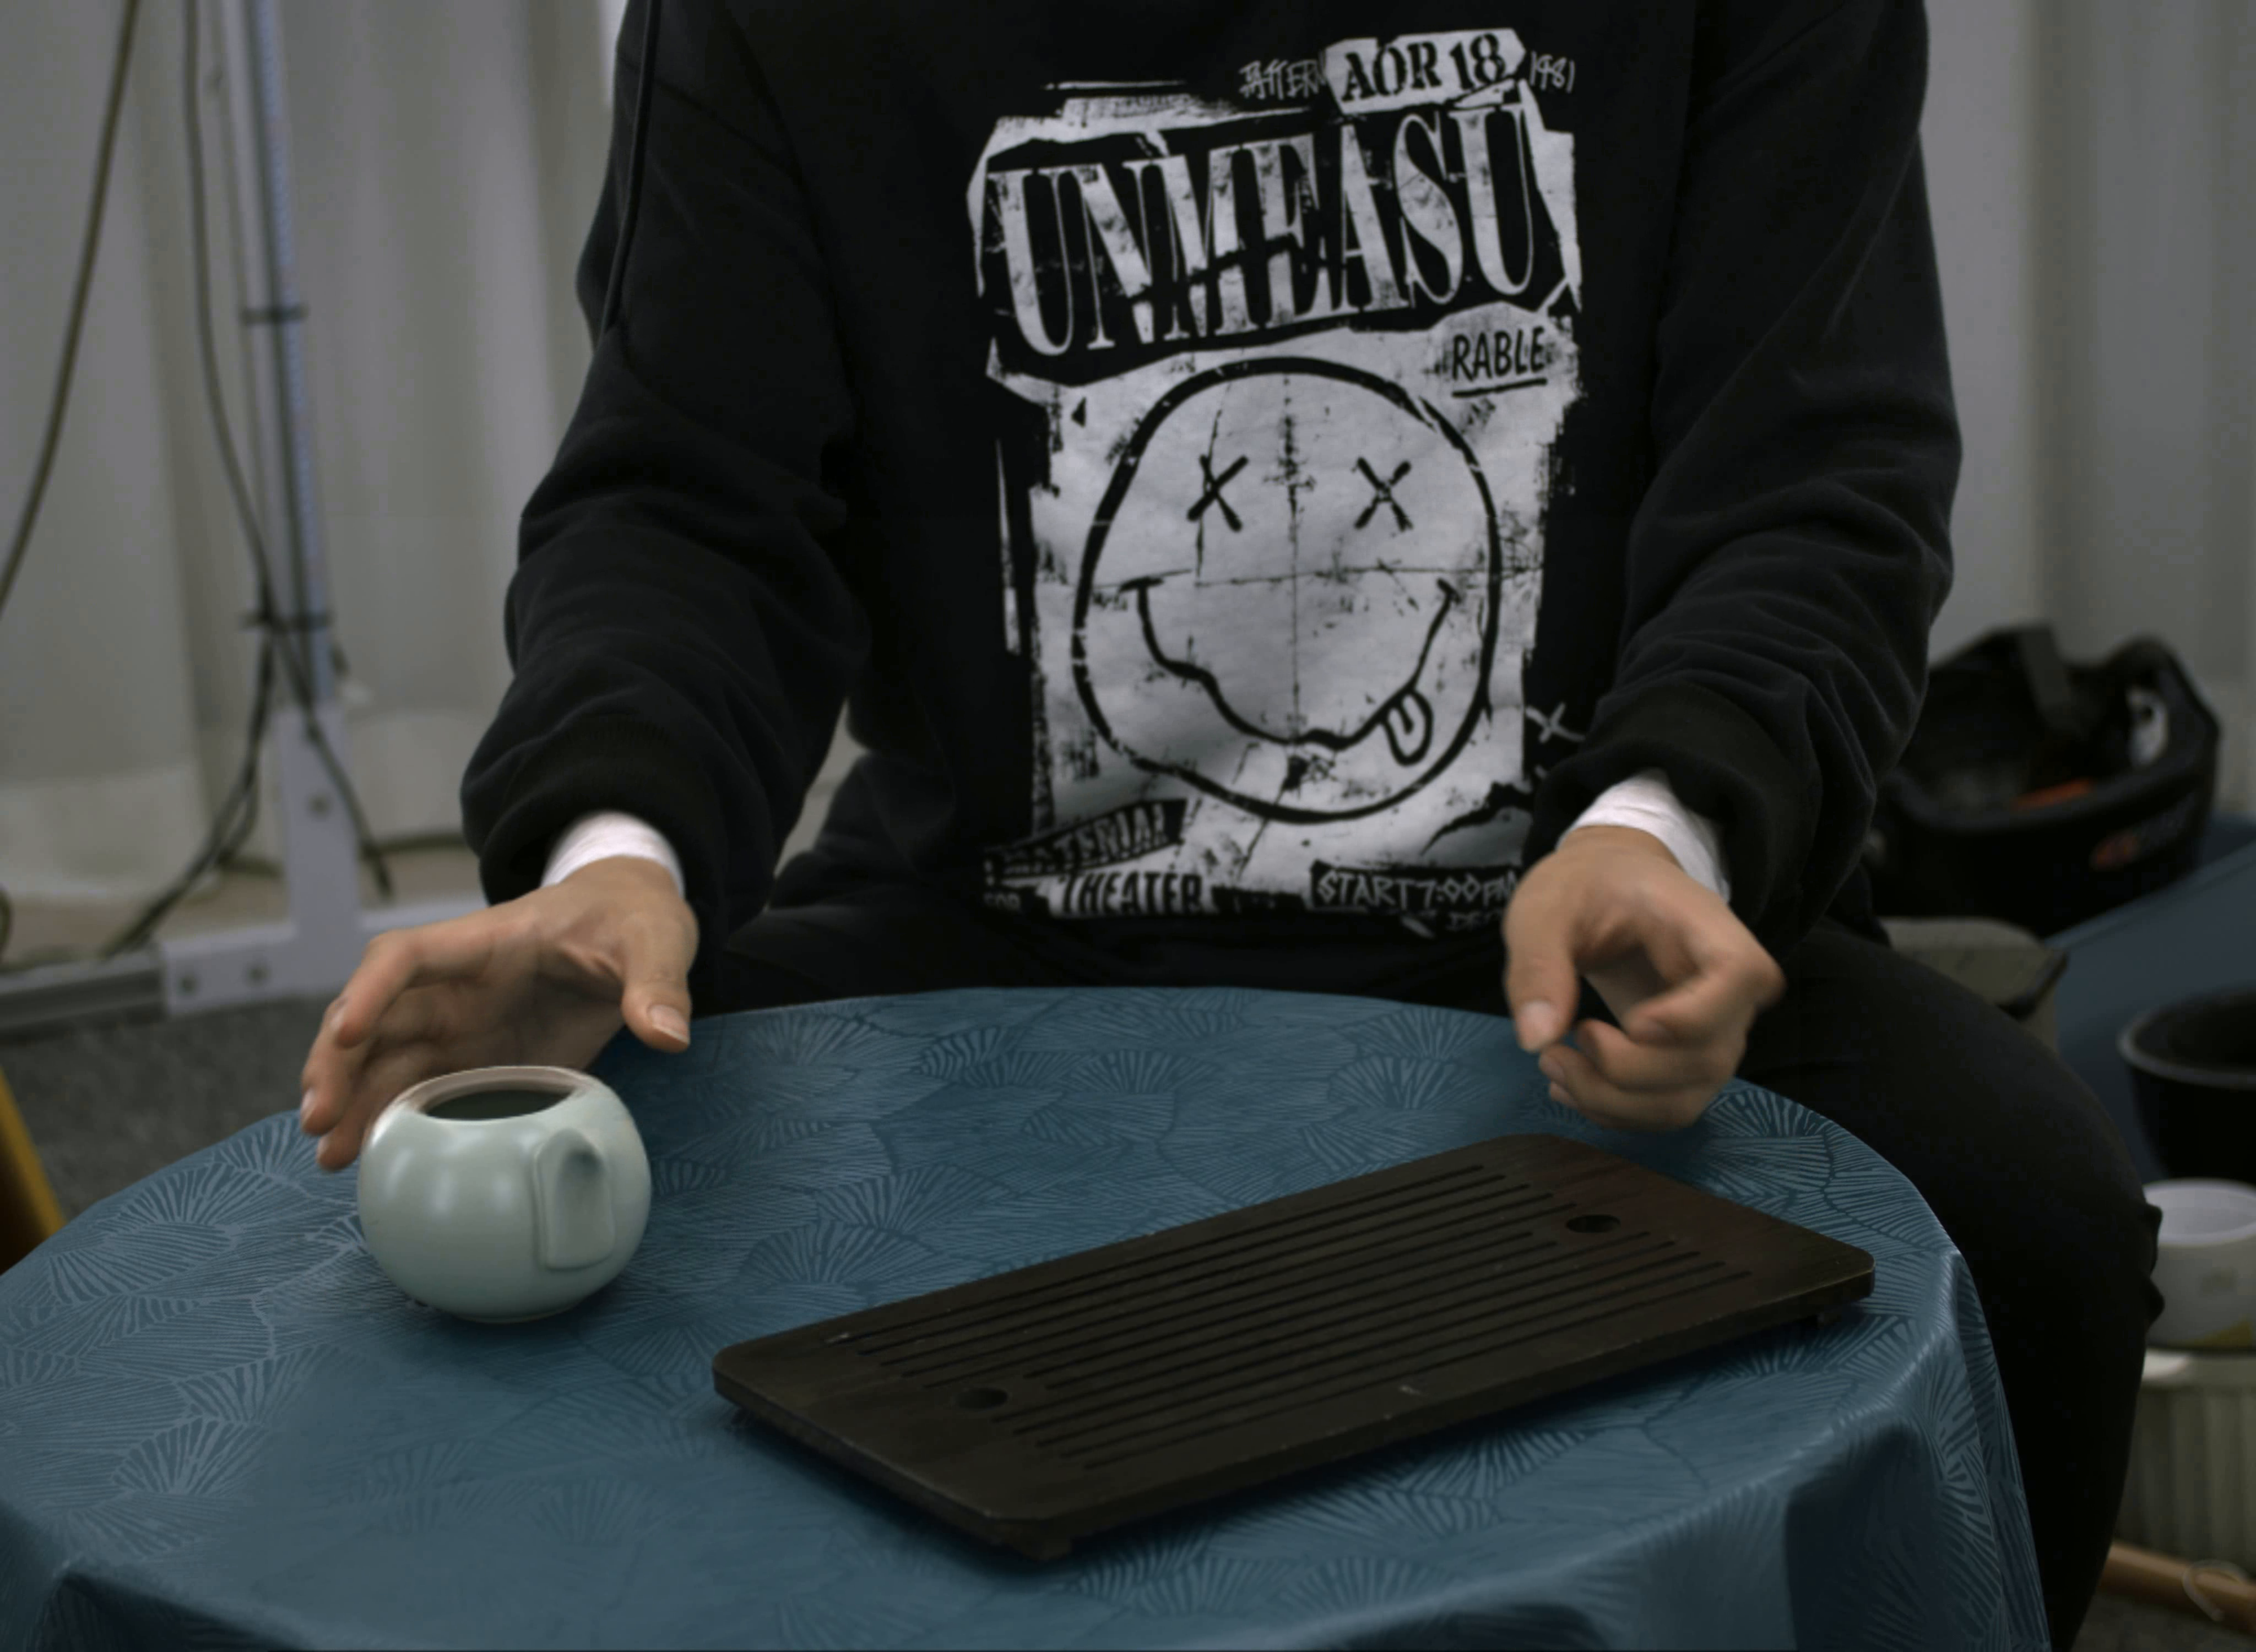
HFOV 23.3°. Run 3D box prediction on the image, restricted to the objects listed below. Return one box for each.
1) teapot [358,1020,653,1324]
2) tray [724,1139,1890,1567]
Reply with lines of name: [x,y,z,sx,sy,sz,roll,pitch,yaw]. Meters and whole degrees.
teapot: [-0.186,0.108,1.636,0.088,0.074,0.145,-11,18,-30]
tray: [0.053,0.146,1.552,0.305,0.018,0.171,-12,17,-32]
